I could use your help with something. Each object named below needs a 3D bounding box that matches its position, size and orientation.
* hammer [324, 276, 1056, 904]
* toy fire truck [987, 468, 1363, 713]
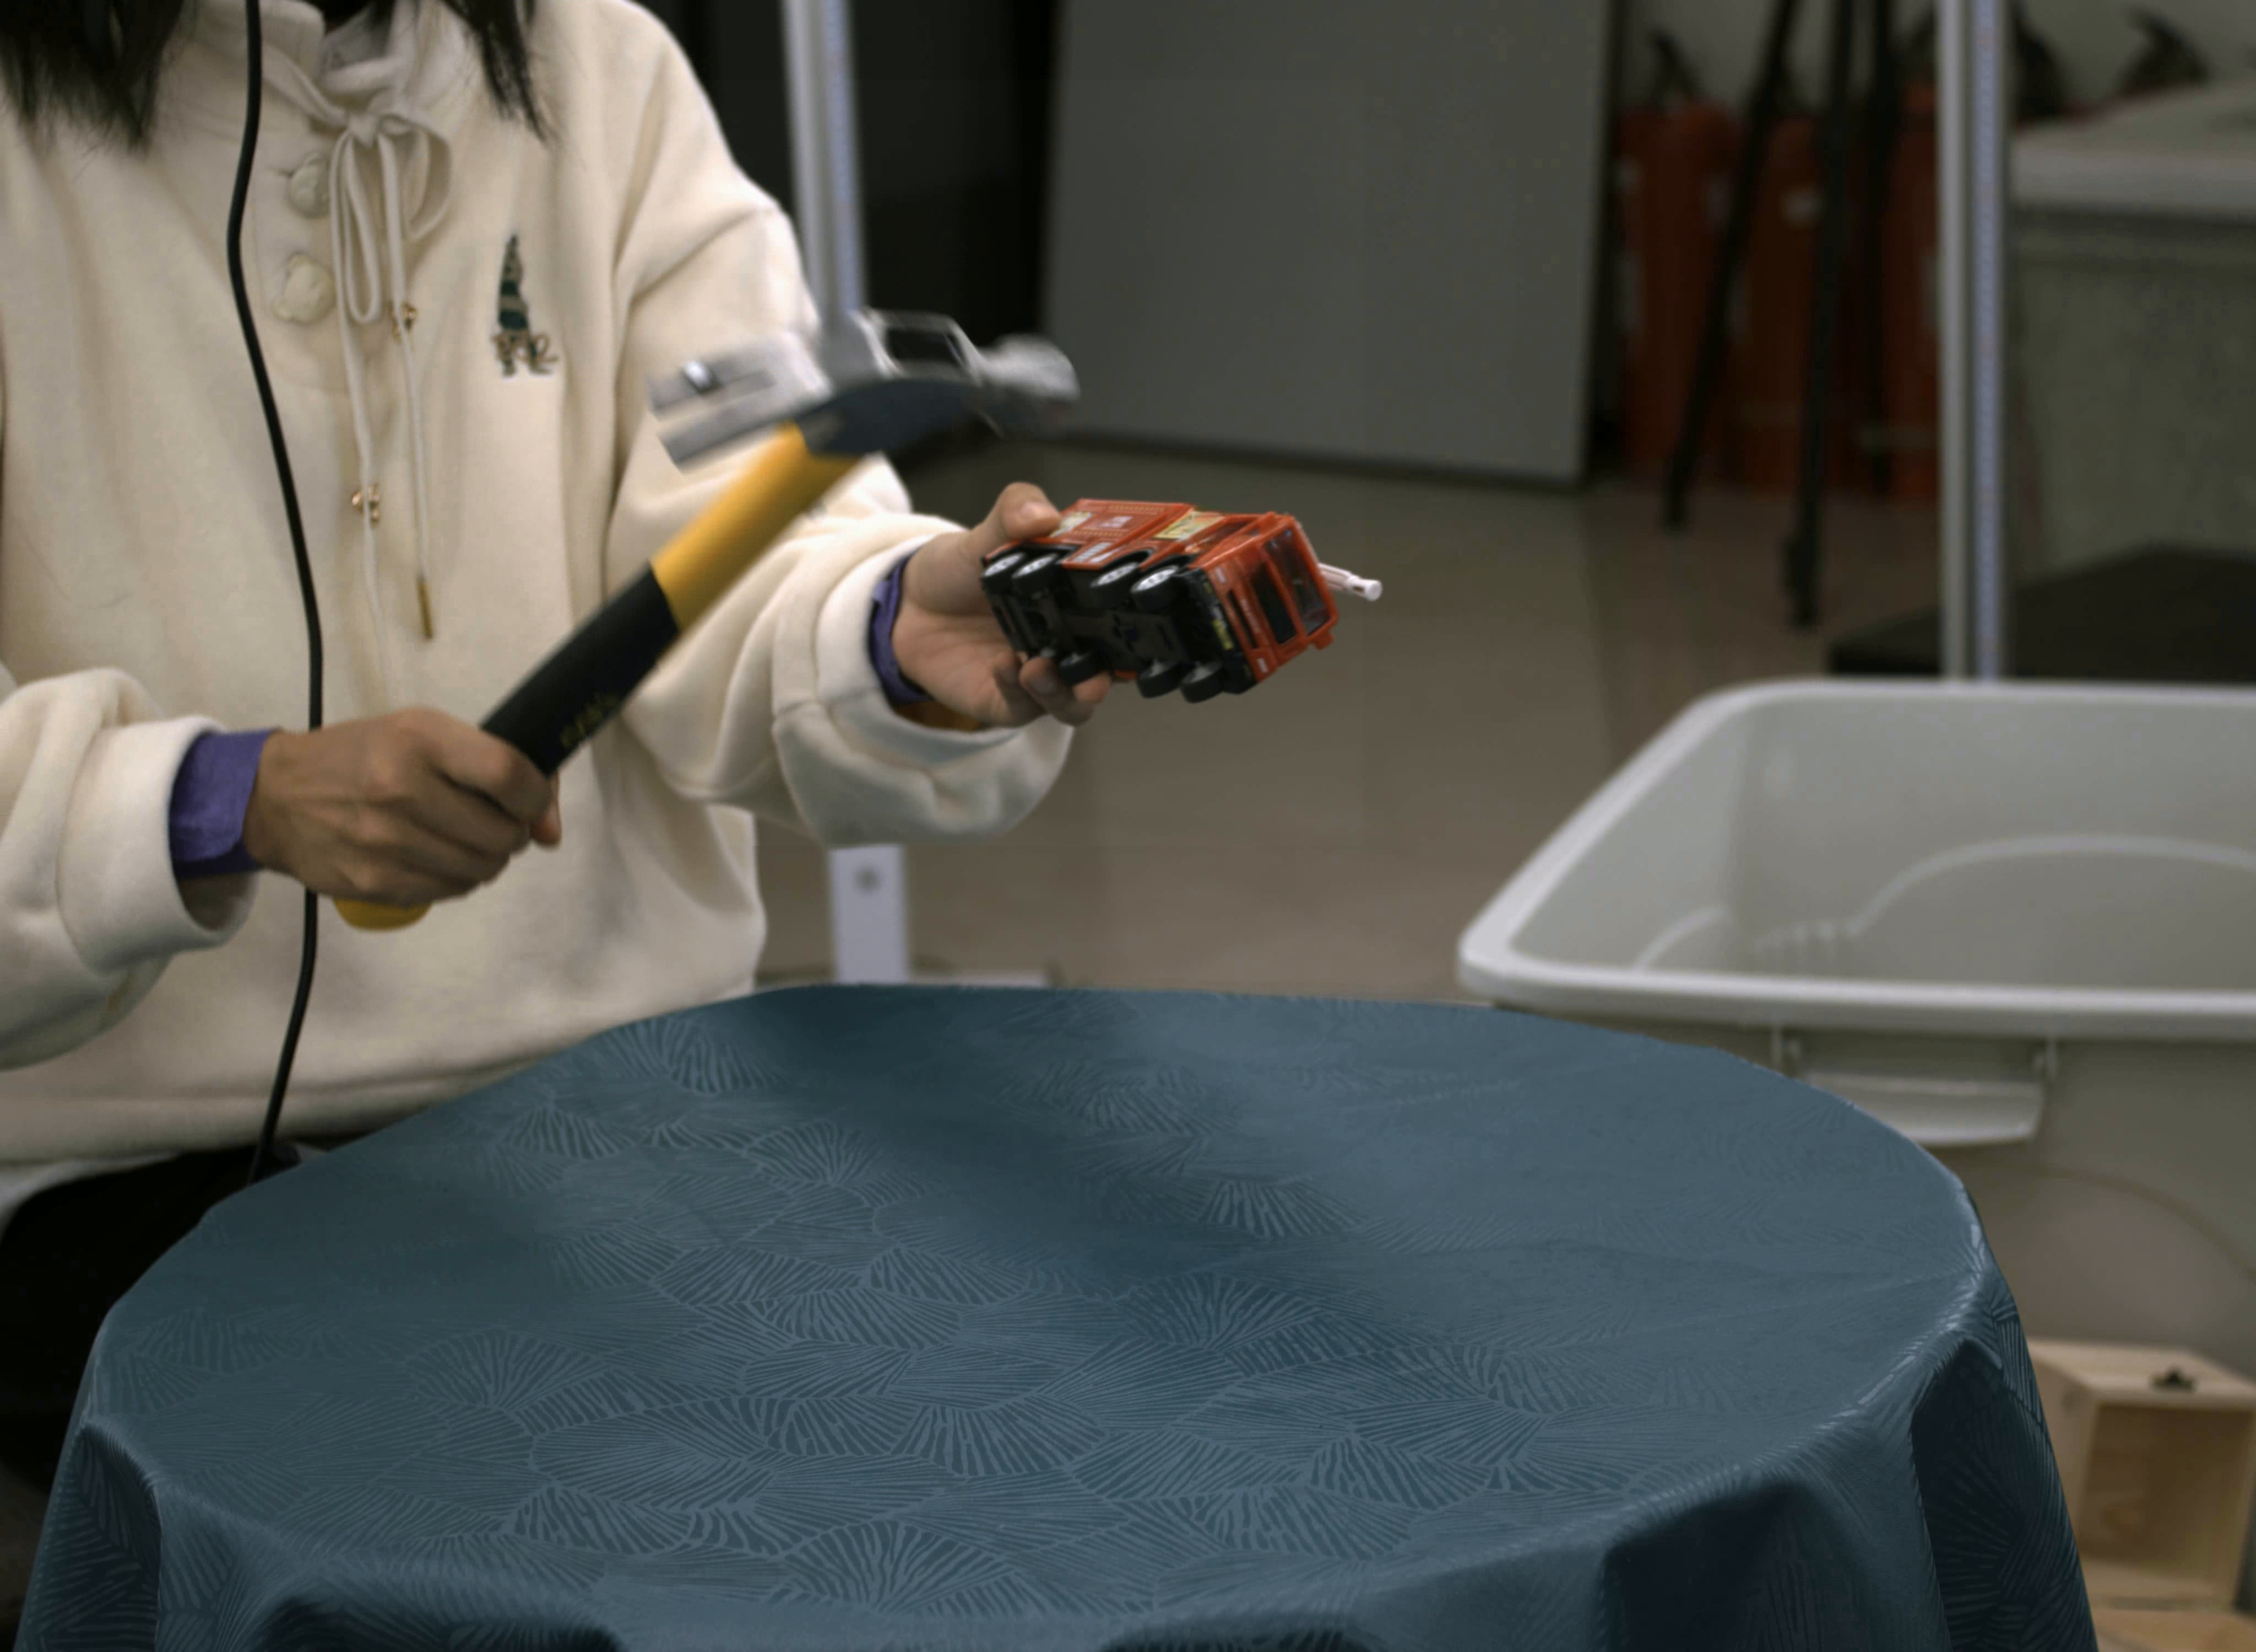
[{"bbox_3d":[-0.168,-0.072,1.776,0.128,0.032,0.341,1,-32,-42],"label":"hammer"},{"bbox_3d":[0.010,-0.078,1.755,0.069,0.054,0.169,-32,17,-21],"label":"toy fire truck"}]
